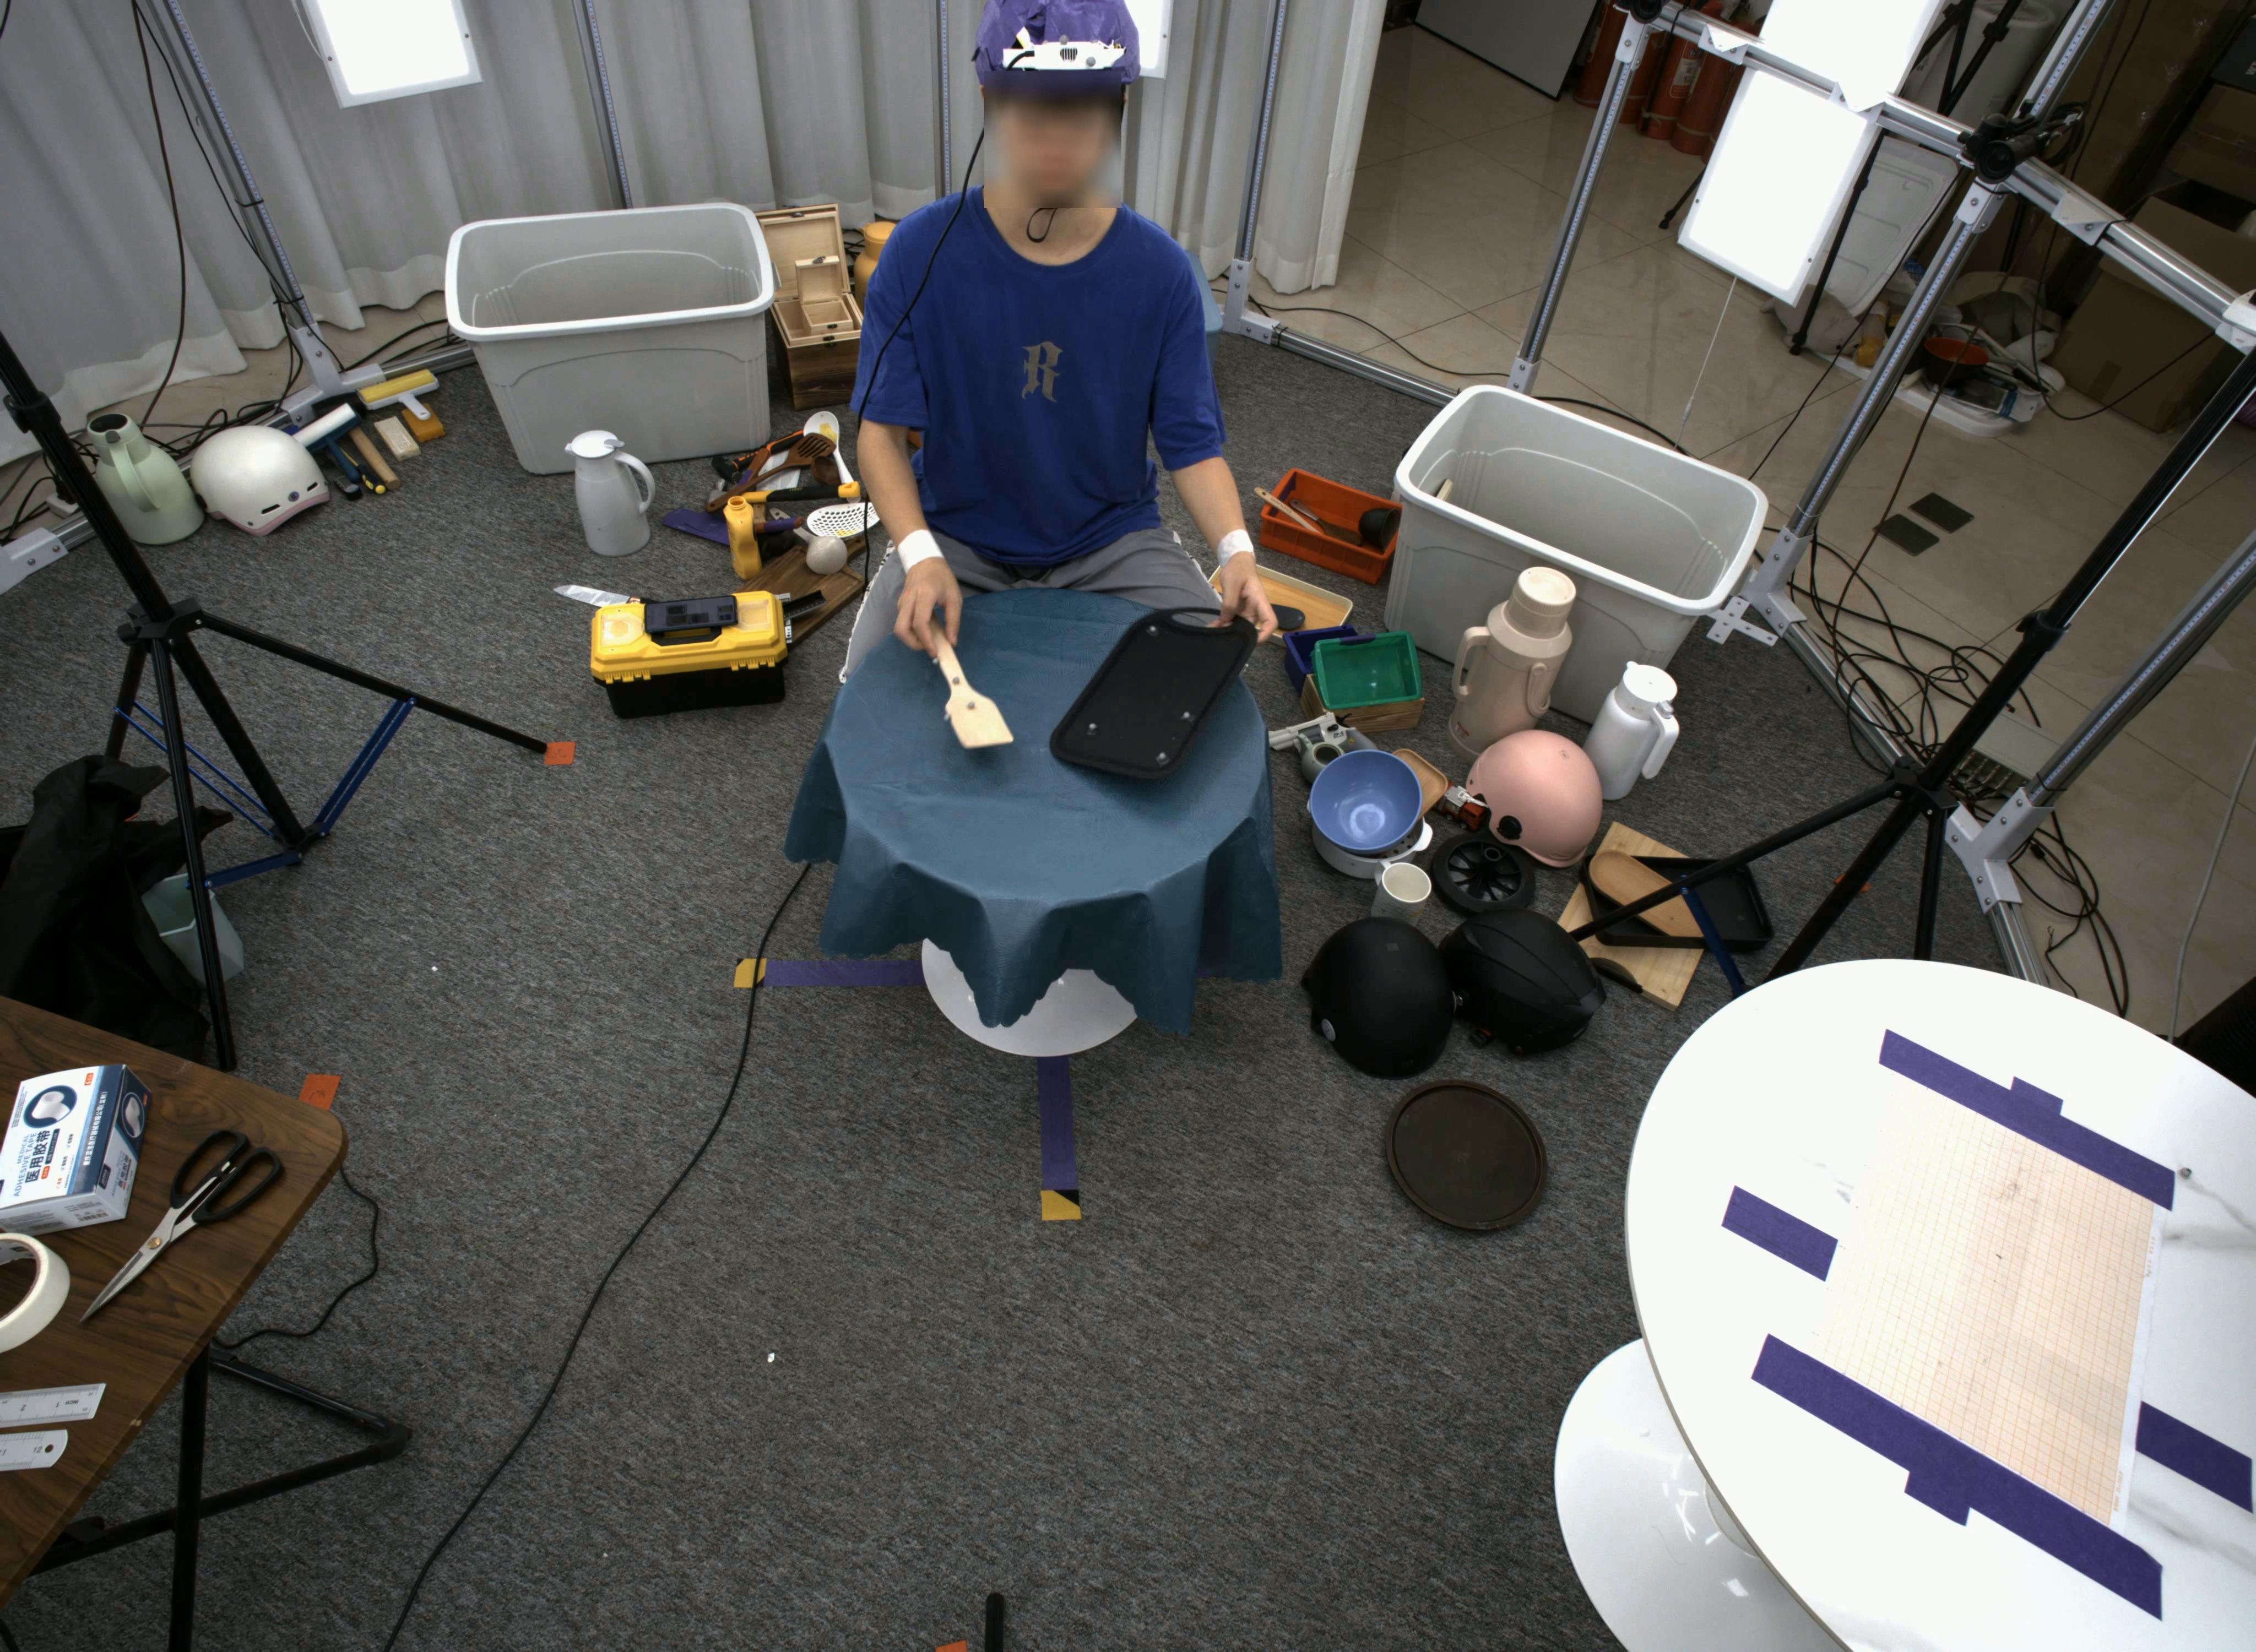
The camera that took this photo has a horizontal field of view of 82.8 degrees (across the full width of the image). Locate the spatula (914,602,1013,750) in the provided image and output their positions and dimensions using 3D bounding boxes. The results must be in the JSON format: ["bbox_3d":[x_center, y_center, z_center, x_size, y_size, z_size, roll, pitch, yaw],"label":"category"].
[{"bbox_3d":[-0.241,-0.212,1.775,0.072,0.010,0.300,-11,53,-23],"label":"spatula"}]

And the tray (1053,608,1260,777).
[{"bbox_3d":[0.044,-0.198,1.785,0.213,0.009,0.330,14,54,31],"label":"tray"}]
